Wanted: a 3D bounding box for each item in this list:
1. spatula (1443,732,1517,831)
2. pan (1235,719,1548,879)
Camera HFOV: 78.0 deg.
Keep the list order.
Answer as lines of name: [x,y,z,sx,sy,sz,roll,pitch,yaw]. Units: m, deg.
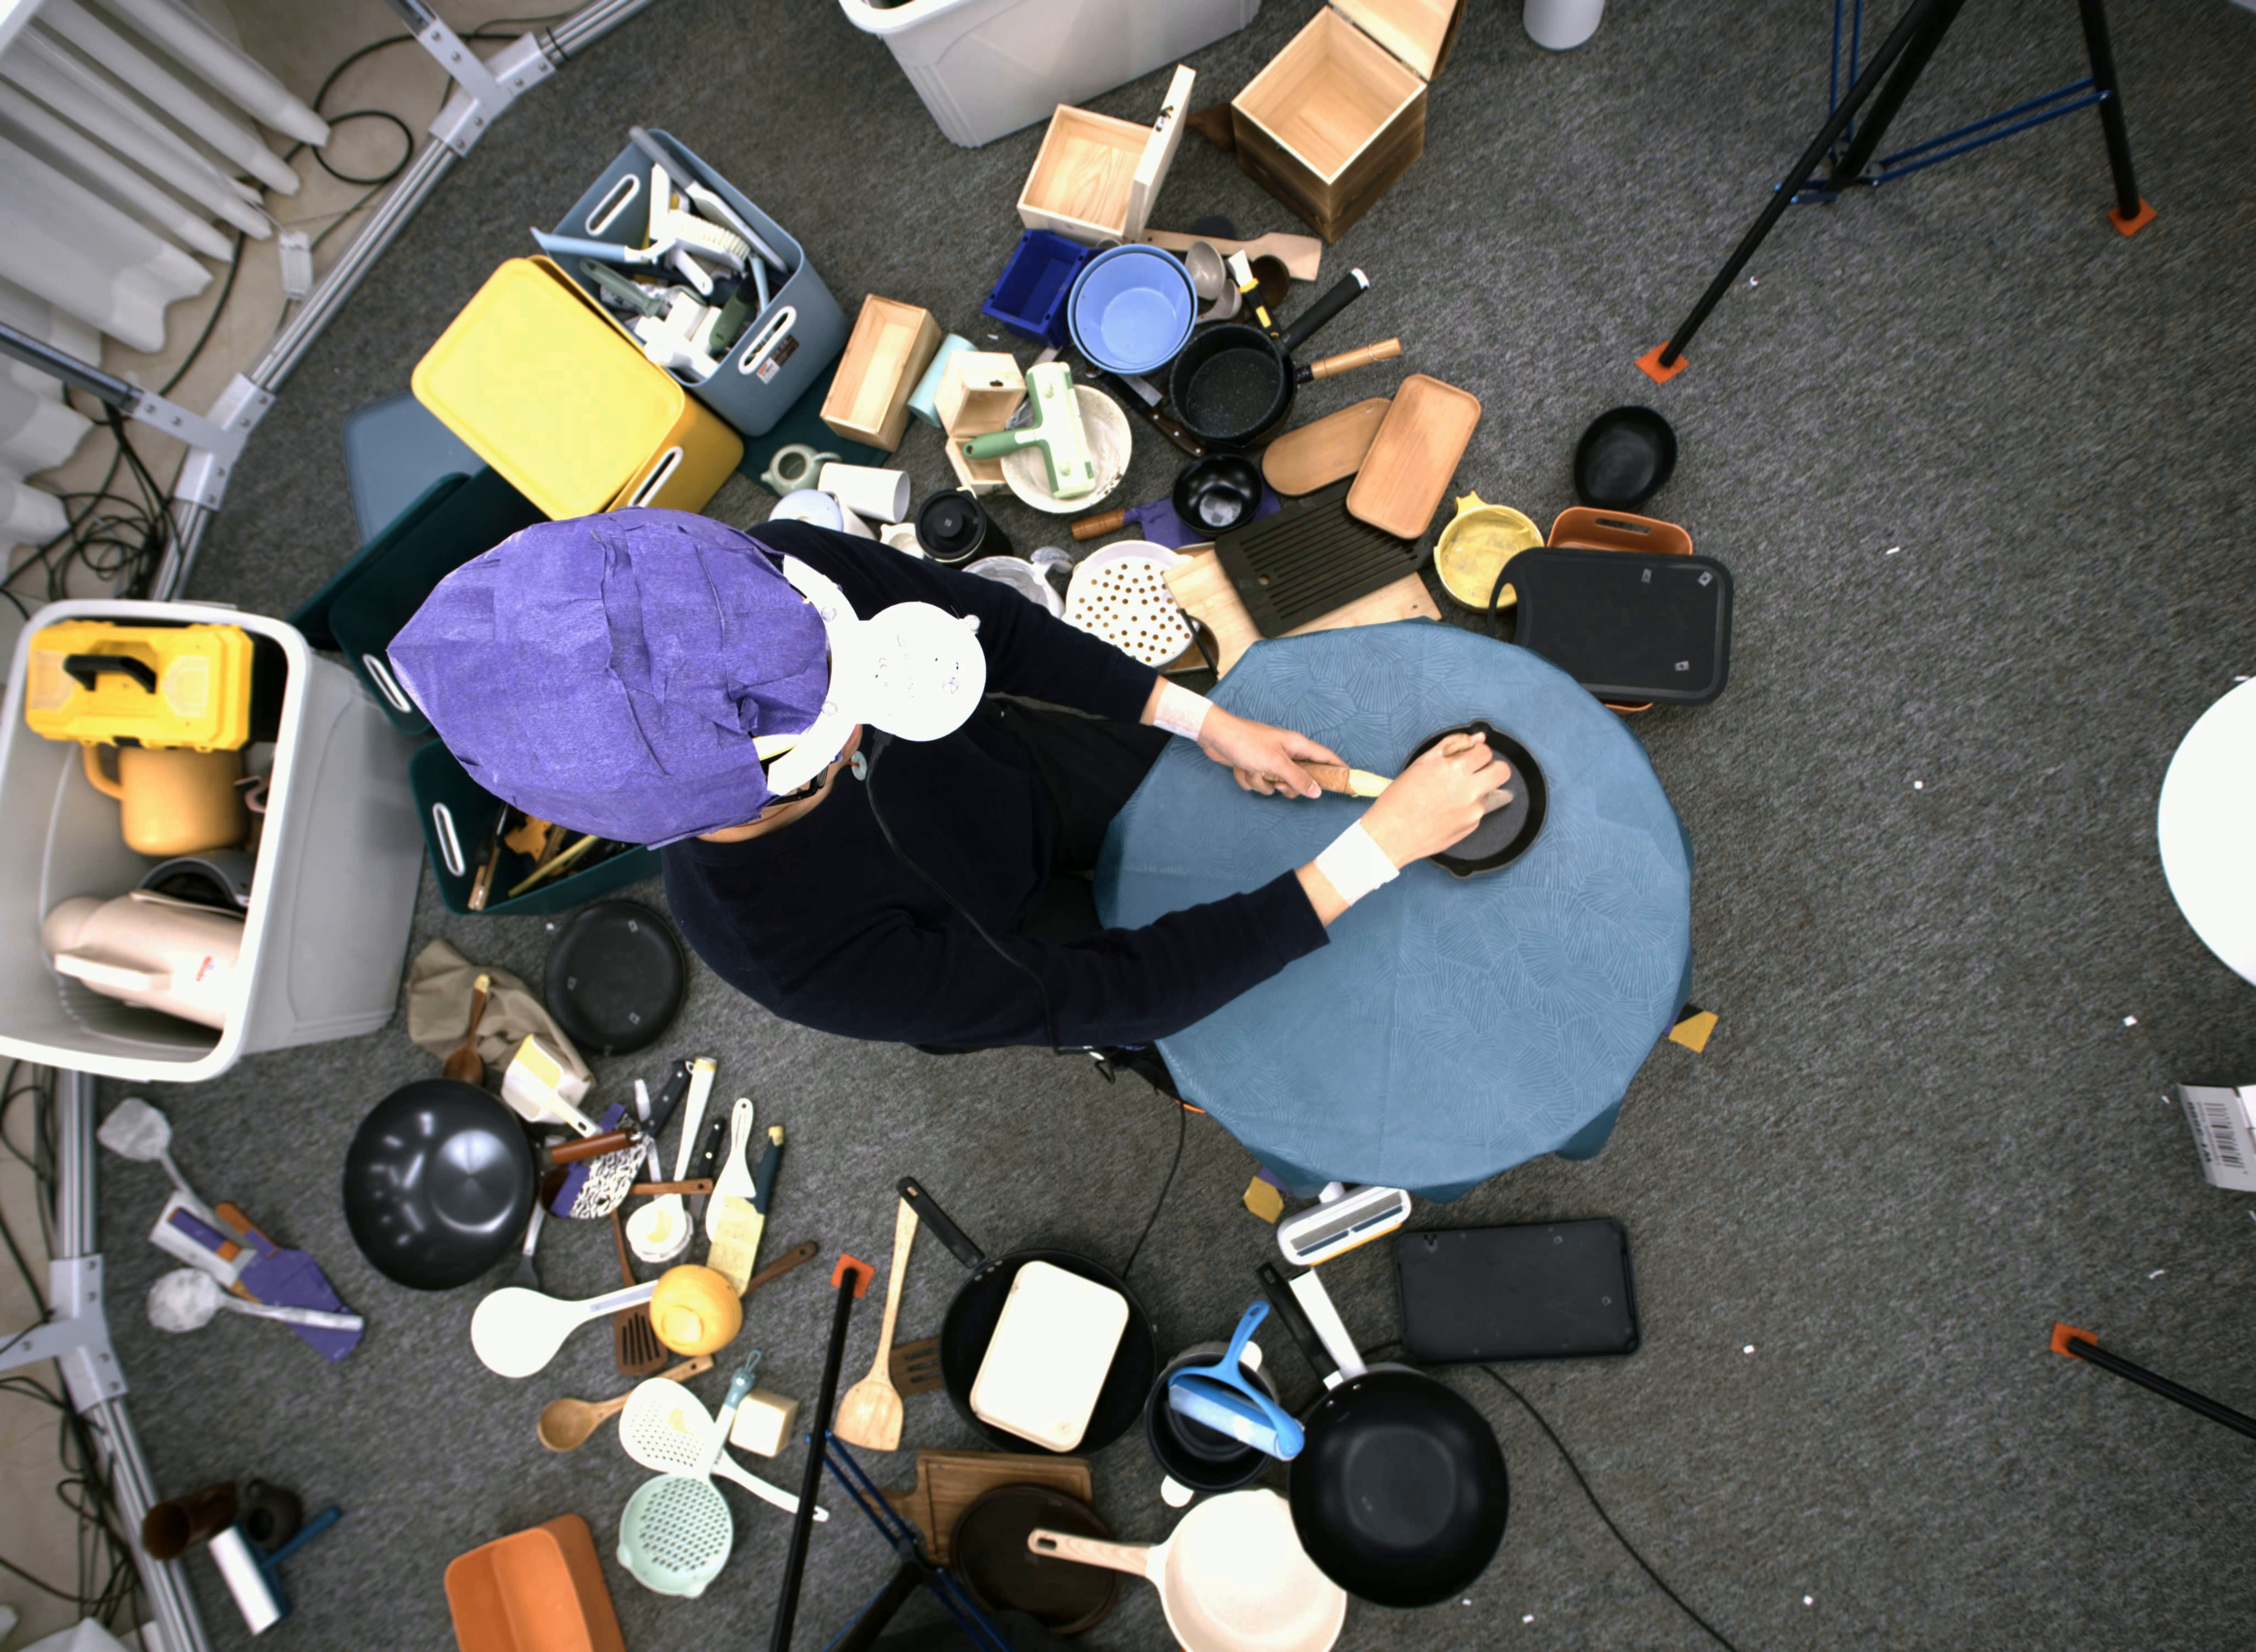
spatula: [0.323,-0.043,1.293,0.080,0.329,0.016,-28,70,11]
pan: [0.273,-0.044,1.440,0.325,0.049,0.168,10,88,9]
